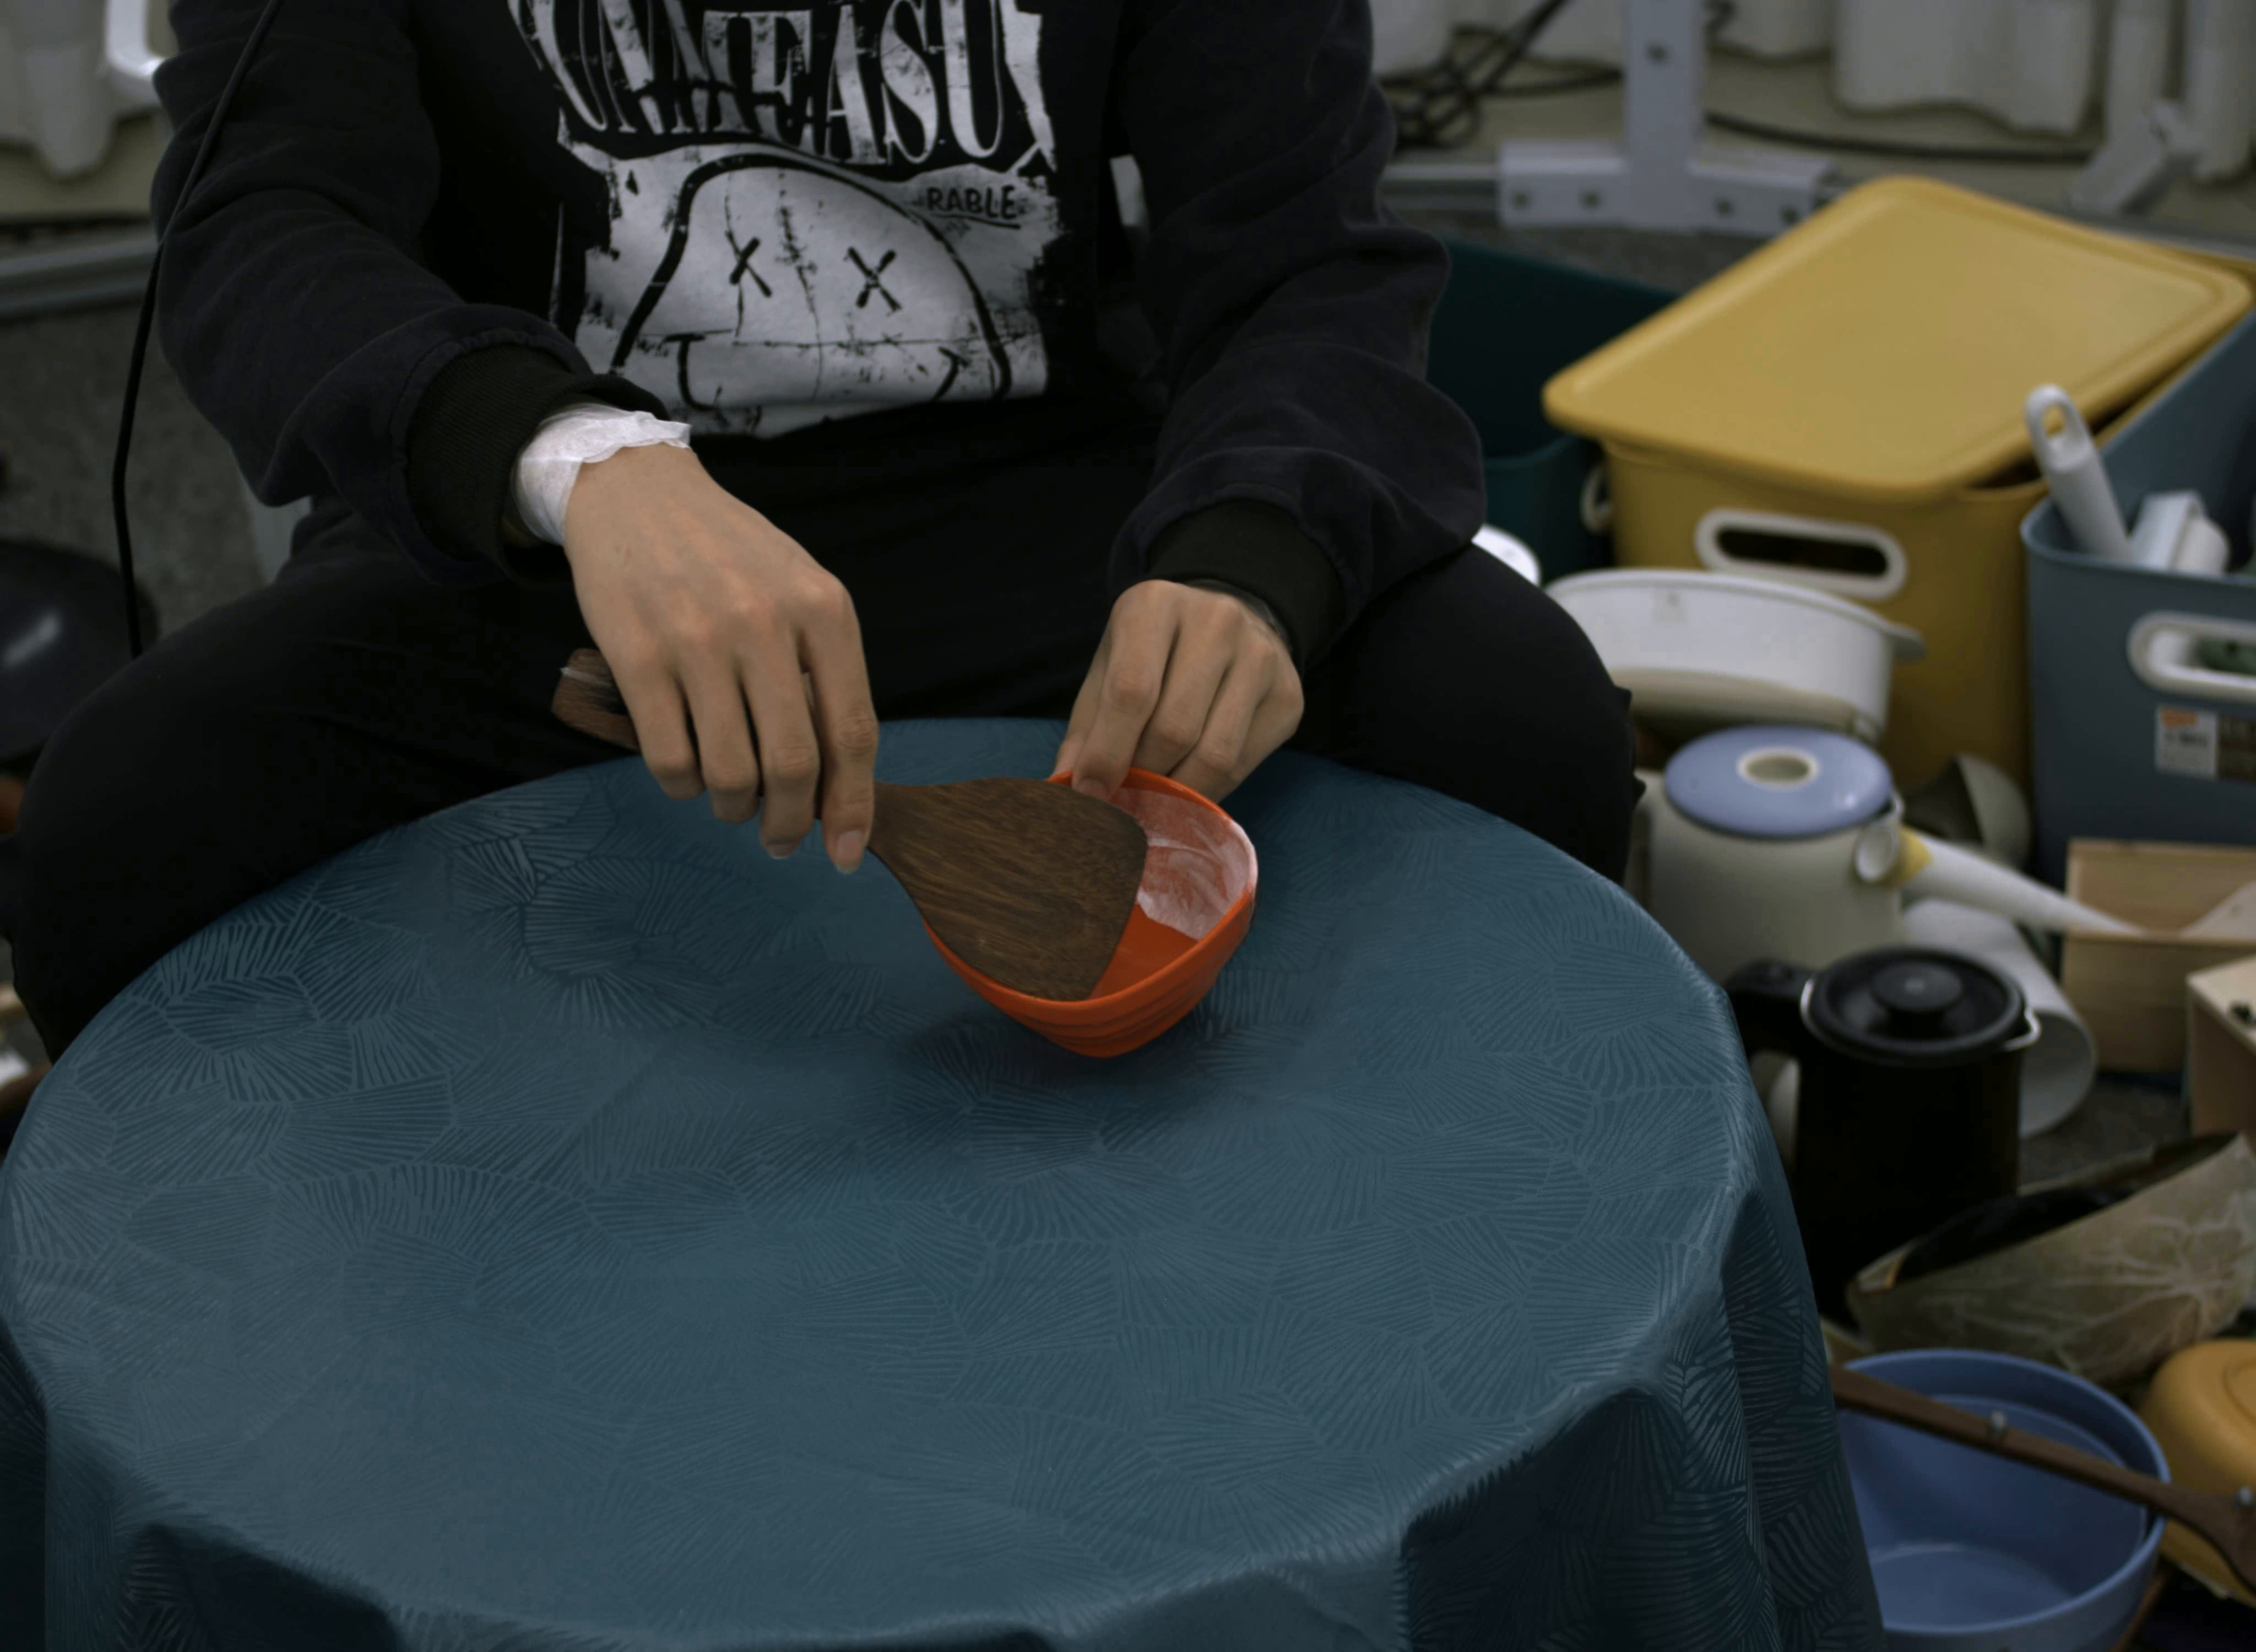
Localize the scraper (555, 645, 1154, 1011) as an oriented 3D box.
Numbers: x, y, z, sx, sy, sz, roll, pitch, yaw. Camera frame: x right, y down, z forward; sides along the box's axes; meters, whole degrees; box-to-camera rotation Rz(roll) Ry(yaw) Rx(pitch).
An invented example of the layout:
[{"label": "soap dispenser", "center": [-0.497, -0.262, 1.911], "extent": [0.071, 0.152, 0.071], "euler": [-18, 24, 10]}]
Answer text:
[{"label": "scraper", "center": [-0.094, -0.009, 1.903], "extent": [0.210, 0.077, 0.011], "euler": [24, -15, -7]}]

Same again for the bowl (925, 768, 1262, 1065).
[{"label": "bowl", "center": [-0.008, 0.038, 1.952], "extent": [0.118, 0.050, 0.121], "euler": [-8, 43, 7]}]
